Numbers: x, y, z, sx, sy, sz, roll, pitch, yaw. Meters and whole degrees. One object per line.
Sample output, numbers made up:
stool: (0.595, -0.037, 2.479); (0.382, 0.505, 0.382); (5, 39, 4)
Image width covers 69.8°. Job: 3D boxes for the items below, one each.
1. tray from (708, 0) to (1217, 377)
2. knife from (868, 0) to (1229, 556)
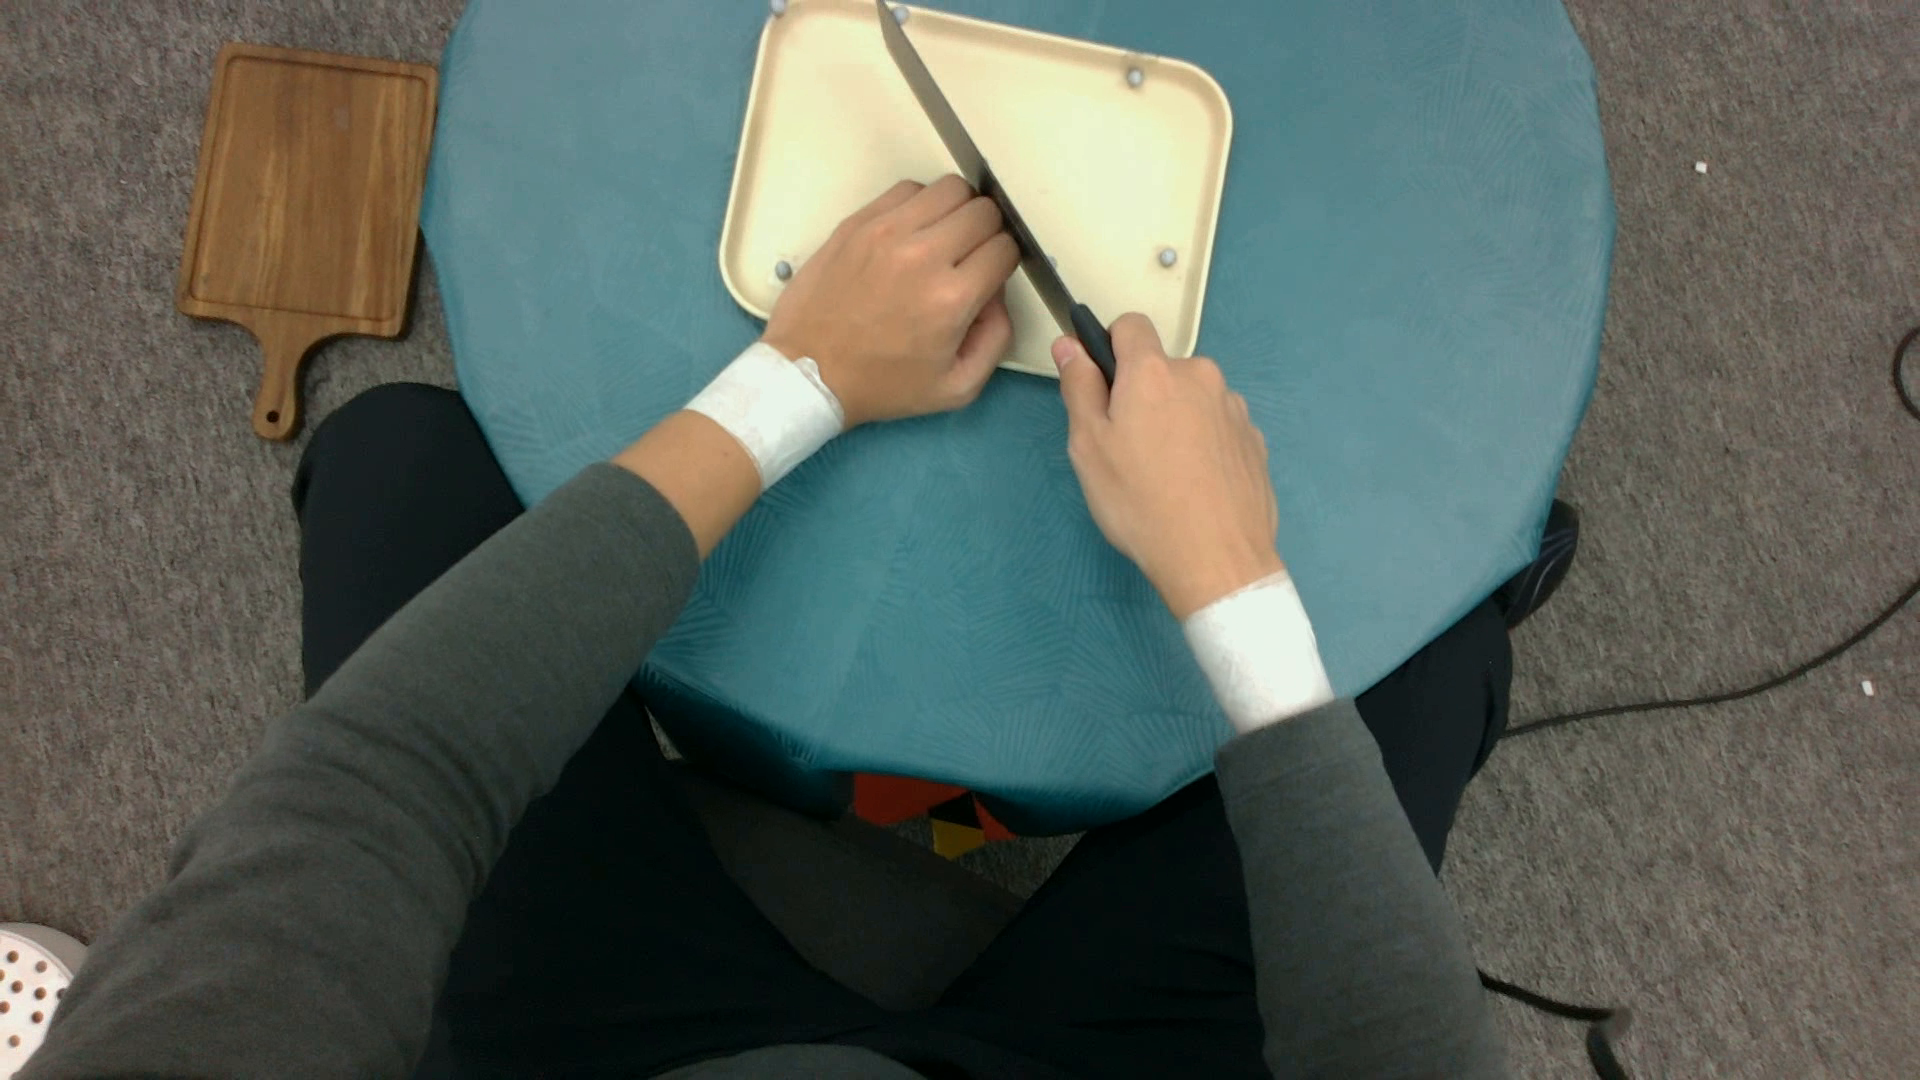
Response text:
tray: (0.003, -0.177, 0.691); (0.240, 0.017, 0.171); (10, 83, -2)
knife: (0.036, -0.123, 0.641); (0.021, 0.081, 0.302); (-32, 82, -2)
